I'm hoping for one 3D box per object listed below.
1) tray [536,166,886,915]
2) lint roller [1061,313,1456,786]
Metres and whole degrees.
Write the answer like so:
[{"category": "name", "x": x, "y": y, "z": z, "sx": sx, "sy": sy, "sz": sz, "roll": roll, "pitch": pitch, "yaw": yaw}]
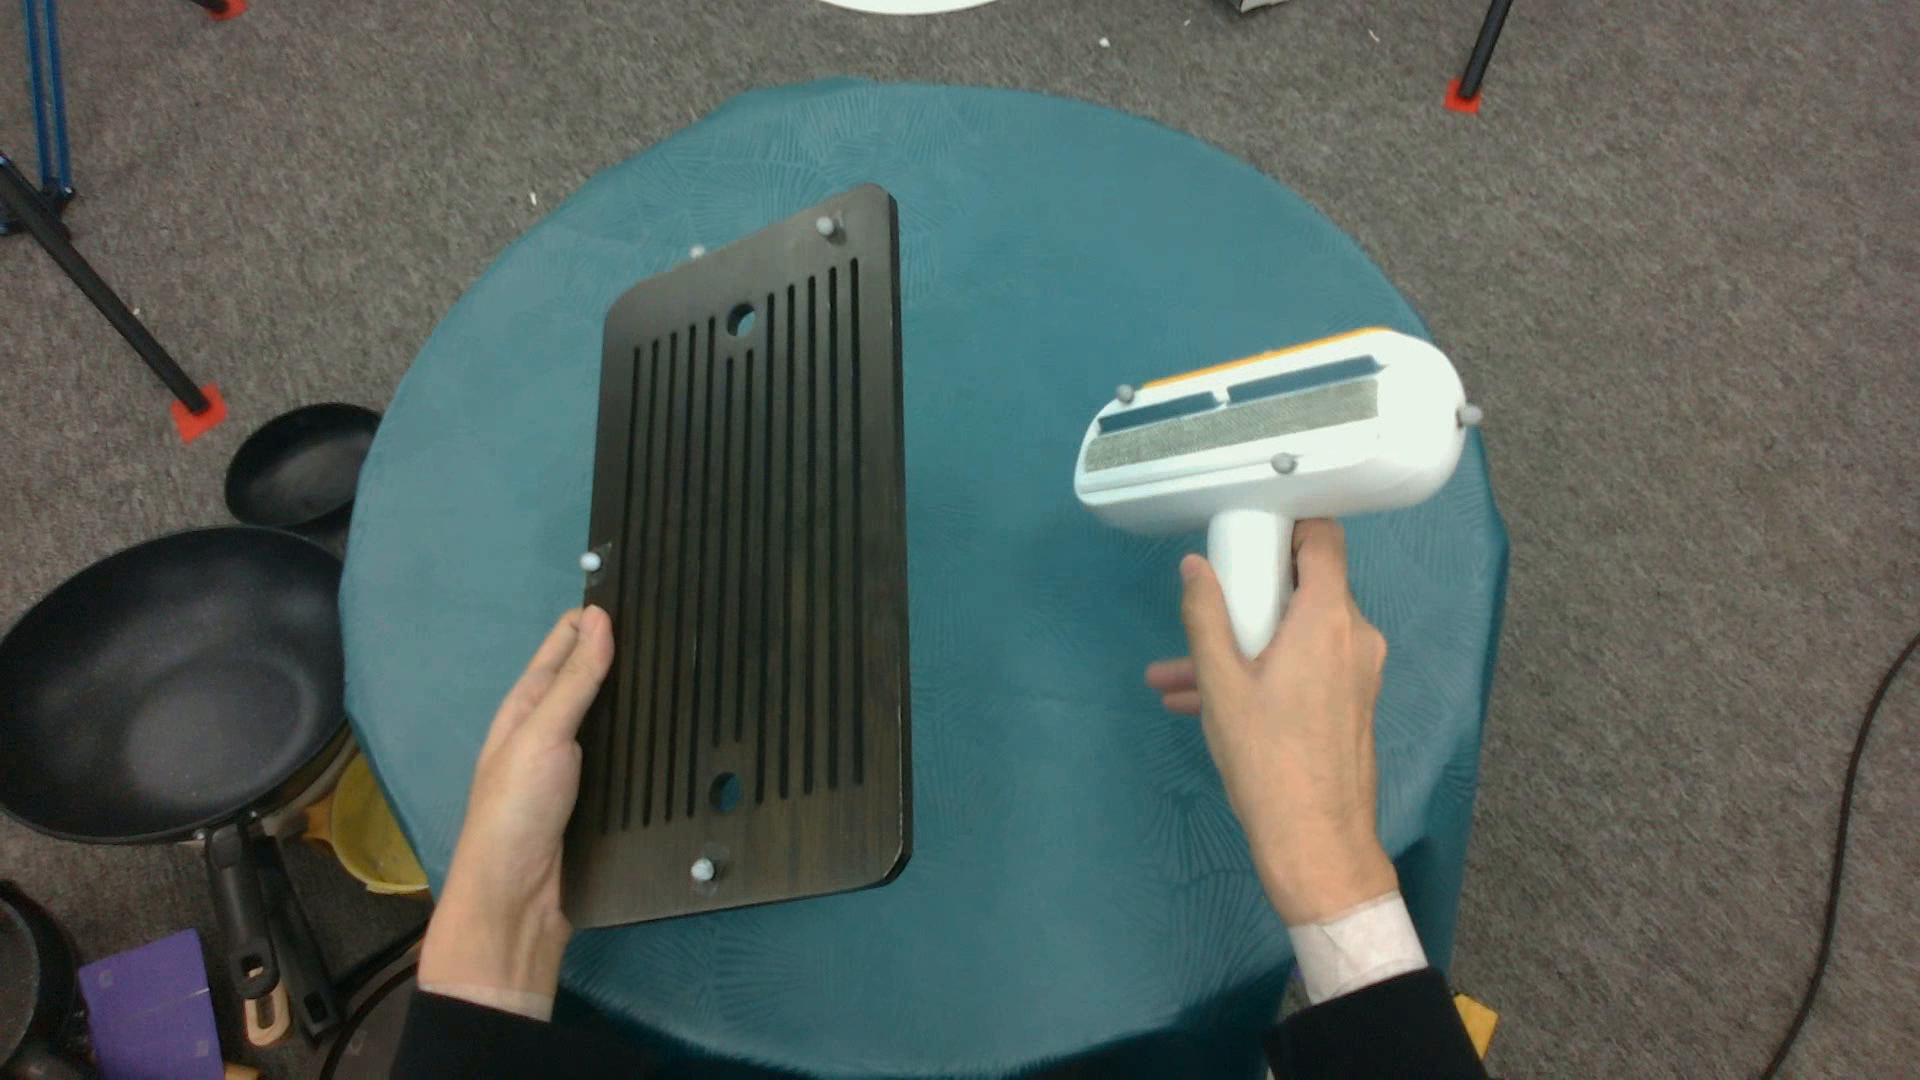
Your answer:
[{"category": "tray", "x": -0.105, "y": -0.005, "z": 0.584, "sx": 0.169, "sy": 0.018, "sz": 0.307, "roll": -16, "pitch": 64, "yaw": 27}, {"category": "lint roller", "x": 0.116, "y": 0.007, "z": 0.590, "sx": 0.192, "sy": 0.074, "sz": 0.193, "roll": 0, "pitch": 75, "yaw": 48}]
